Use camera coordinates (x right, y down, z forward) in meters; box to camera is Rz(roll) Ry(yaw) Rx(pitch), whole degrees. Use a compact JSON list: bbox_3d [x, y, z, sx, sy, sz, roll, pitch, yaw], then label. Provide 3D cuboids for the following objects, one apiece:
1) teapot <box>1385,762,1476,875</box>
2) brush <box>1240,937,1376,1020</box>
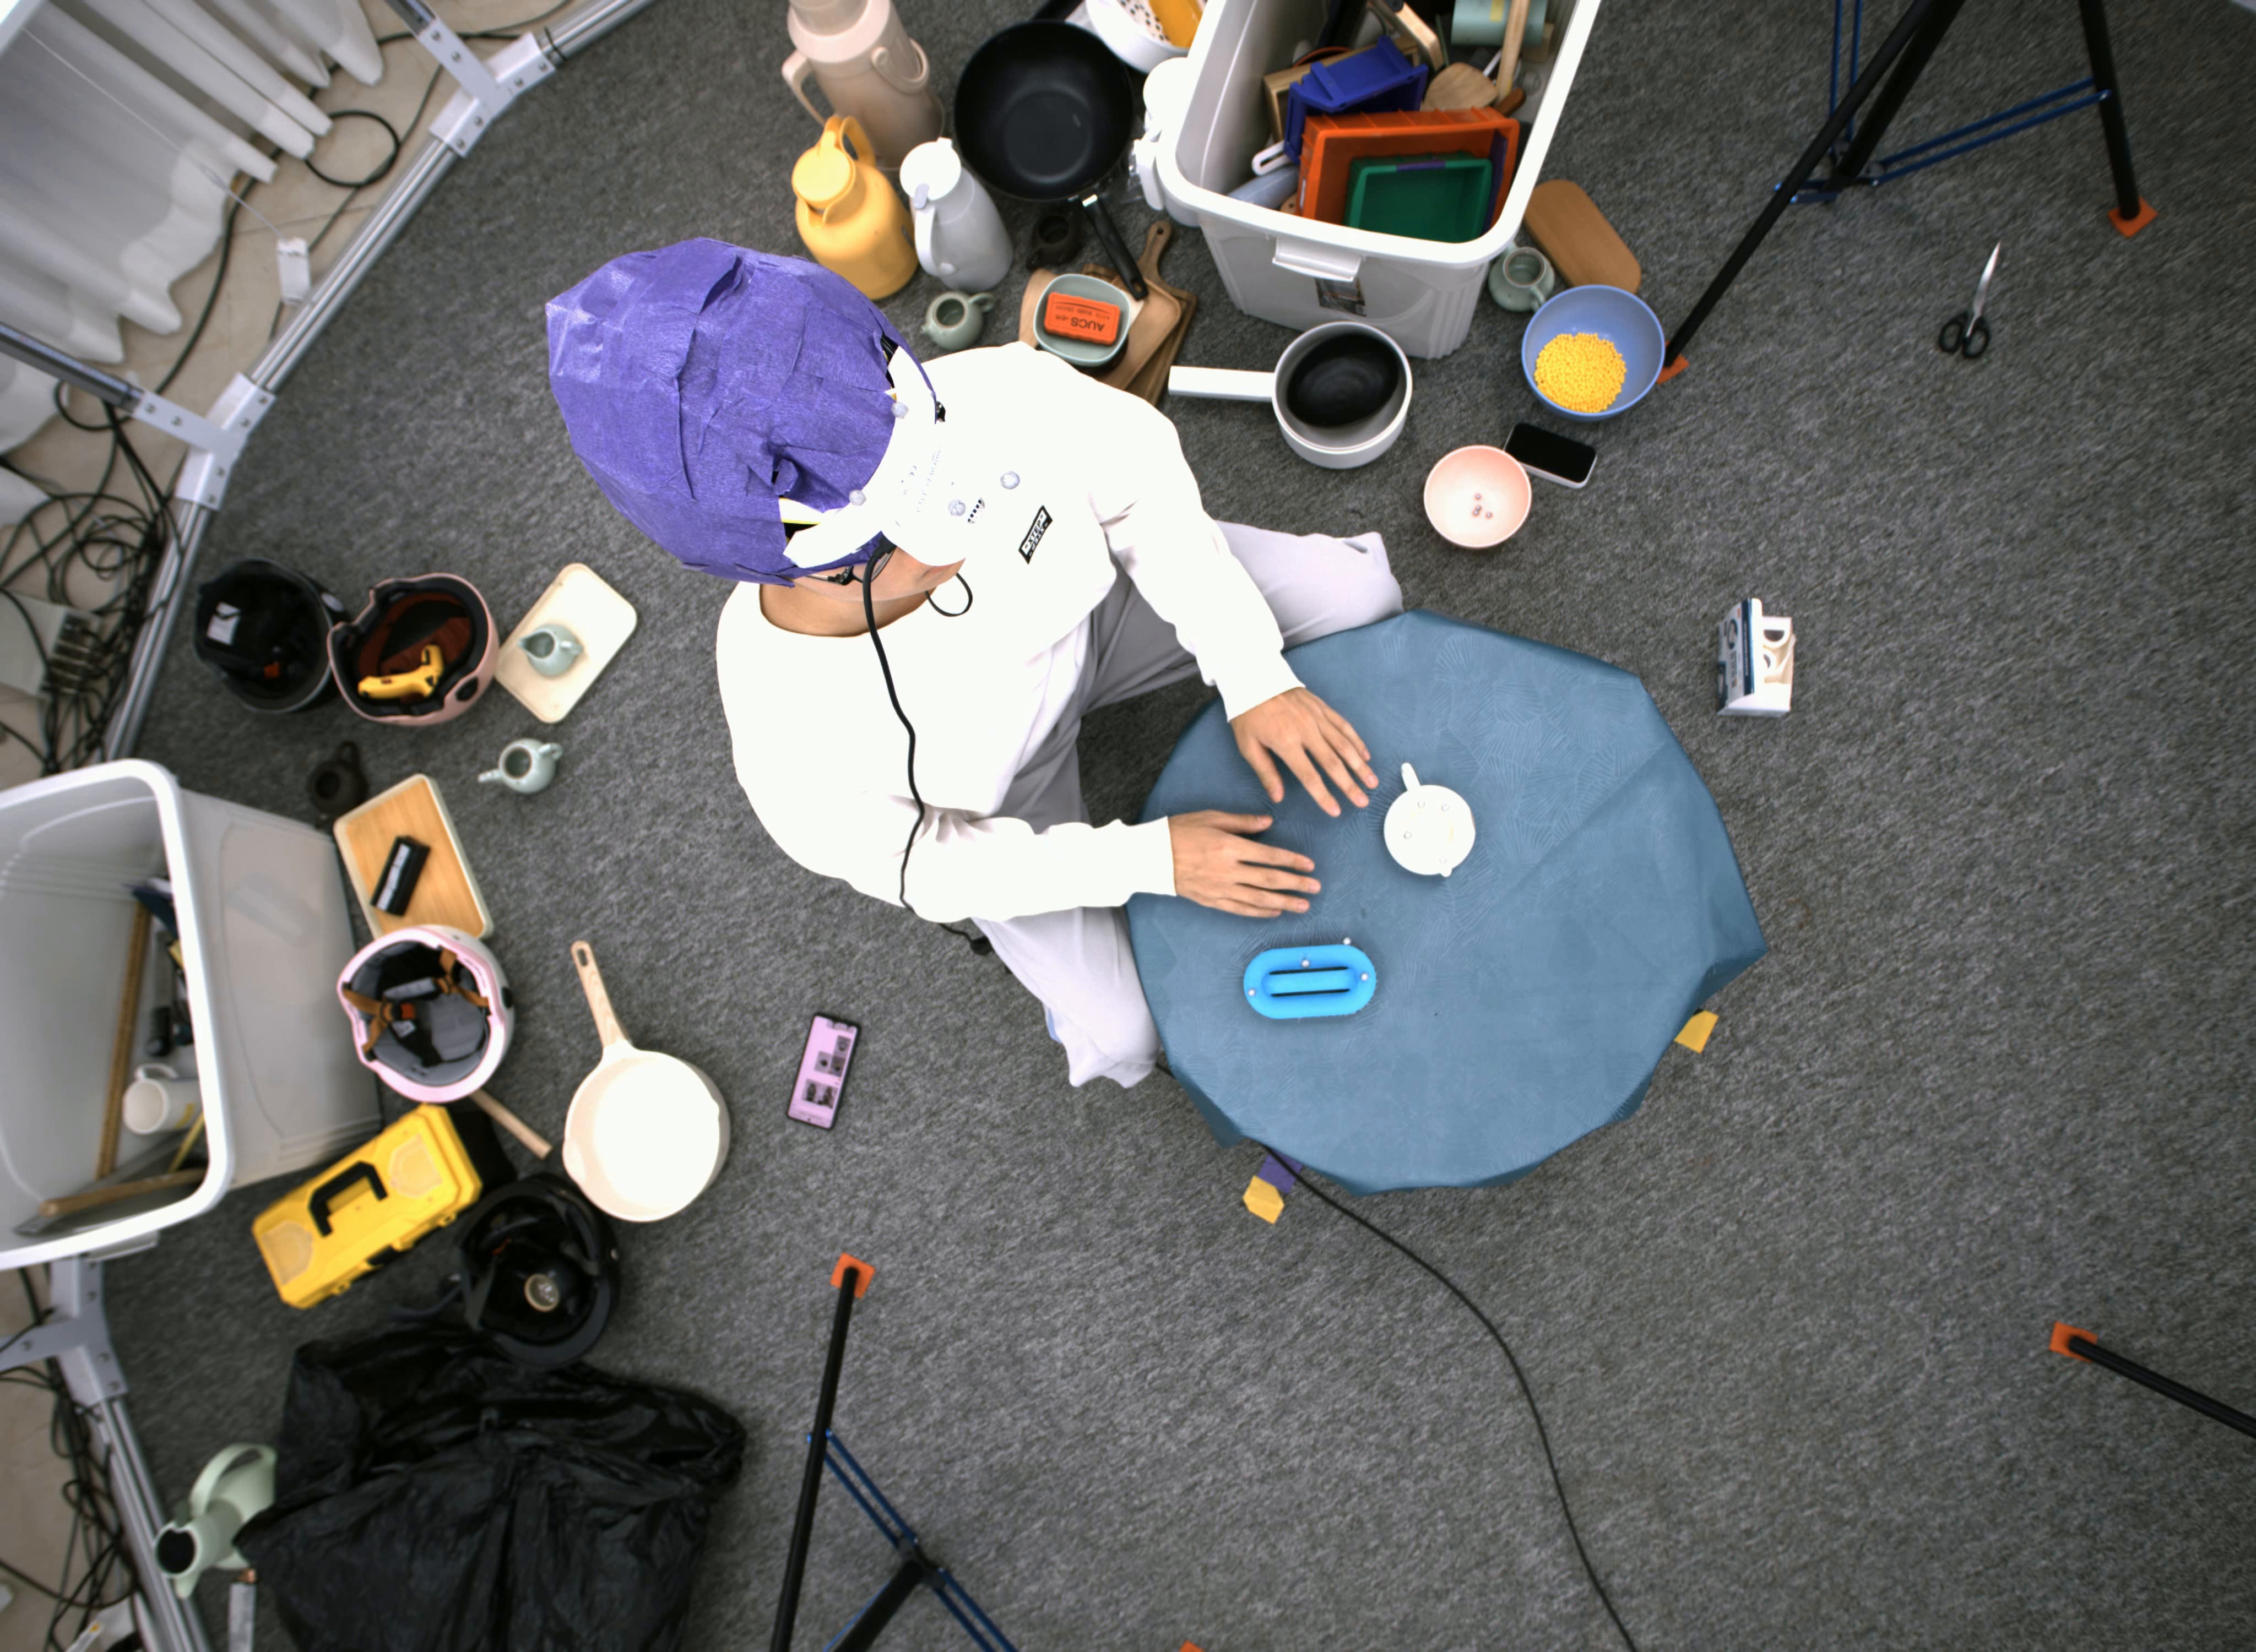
[{"bbox_3d":[0.309,-0.009,1.429,0.094,0.056,0.126,-25,81,12],"label":"teapot"},{"bbox_3d":[0.186,0.159,1.437,0.142,0.063,0.084,-3,90,11],"label":"brush"}]
